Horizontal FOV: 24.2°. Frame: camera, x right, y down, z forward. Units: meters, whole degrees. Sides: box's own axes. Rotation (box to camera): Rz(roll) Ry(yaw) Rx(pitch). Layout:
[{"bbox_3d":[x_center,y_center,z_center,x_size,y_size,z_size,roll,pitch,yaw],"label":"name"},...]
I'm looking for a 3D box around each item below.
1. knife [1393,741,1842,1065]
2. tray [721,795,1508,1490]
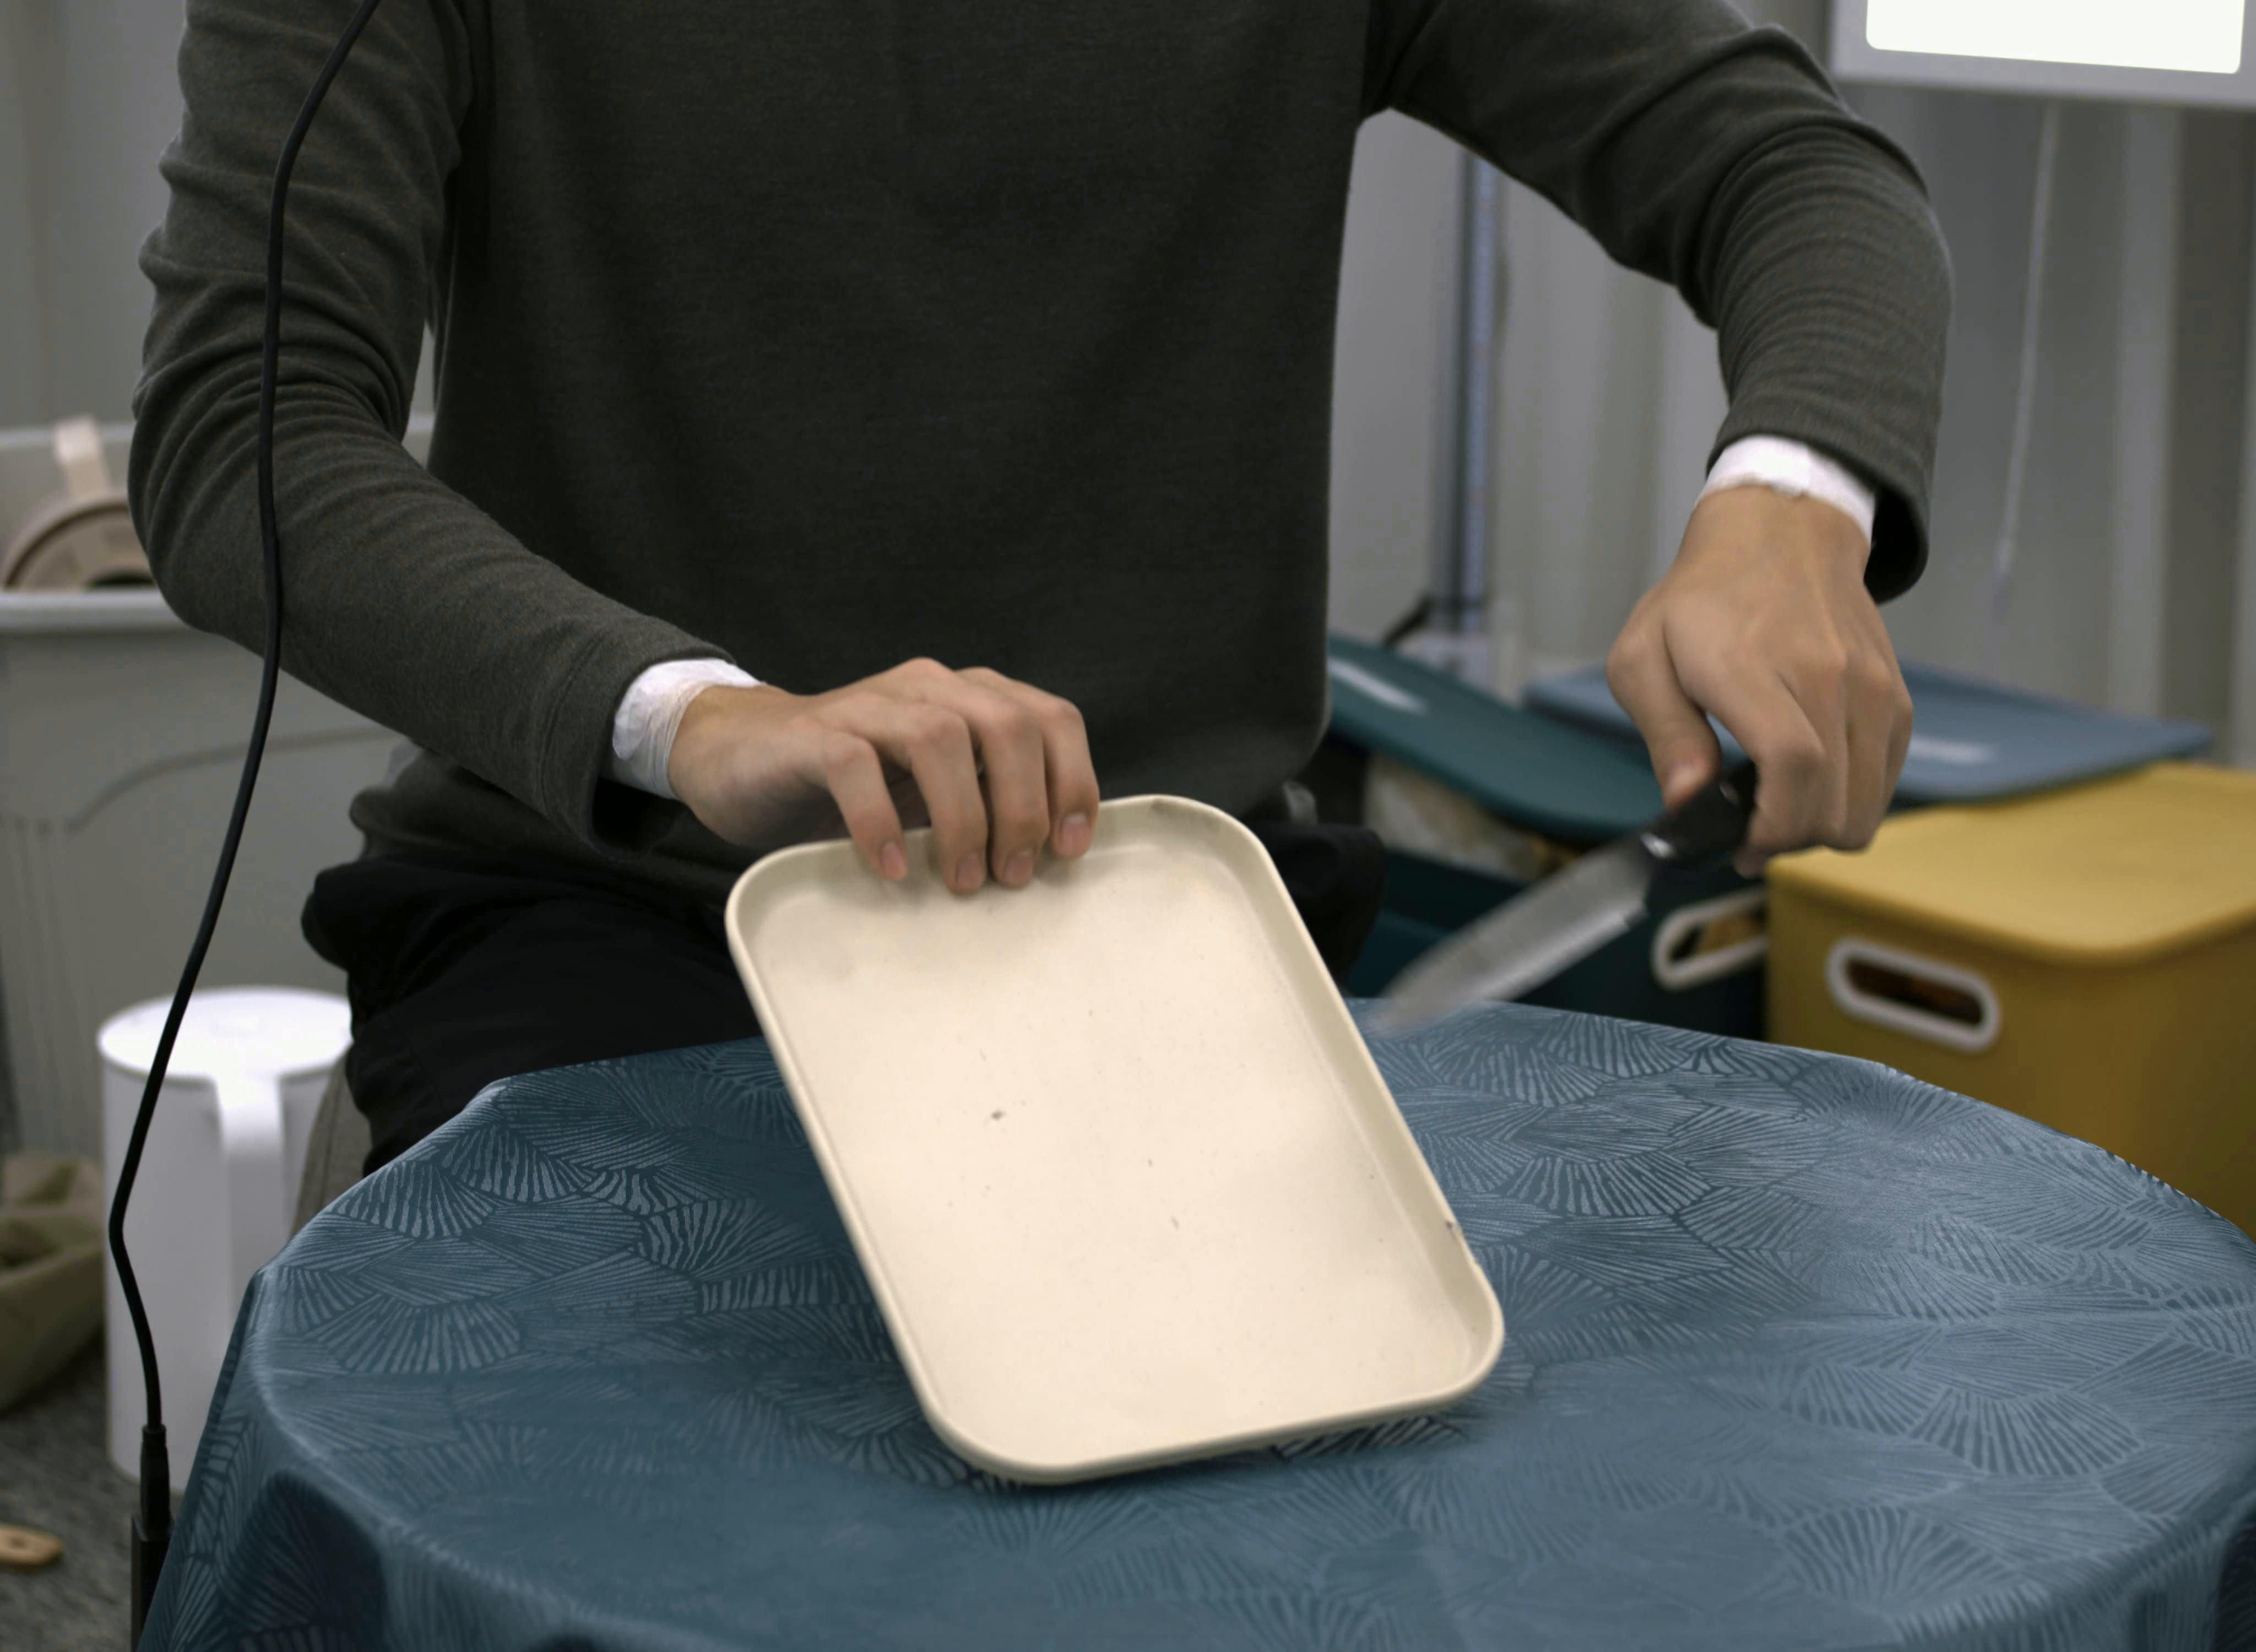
[{"bbox_3d":[0.141,0.021,1.526,0.024,0.016,0.238,46,42,12],"label":"knife"},{"bbox_3d":[-0.007,0.086,1.482,0.171,0.017,0.237,-9,48,-20],"label":"tray"}]
